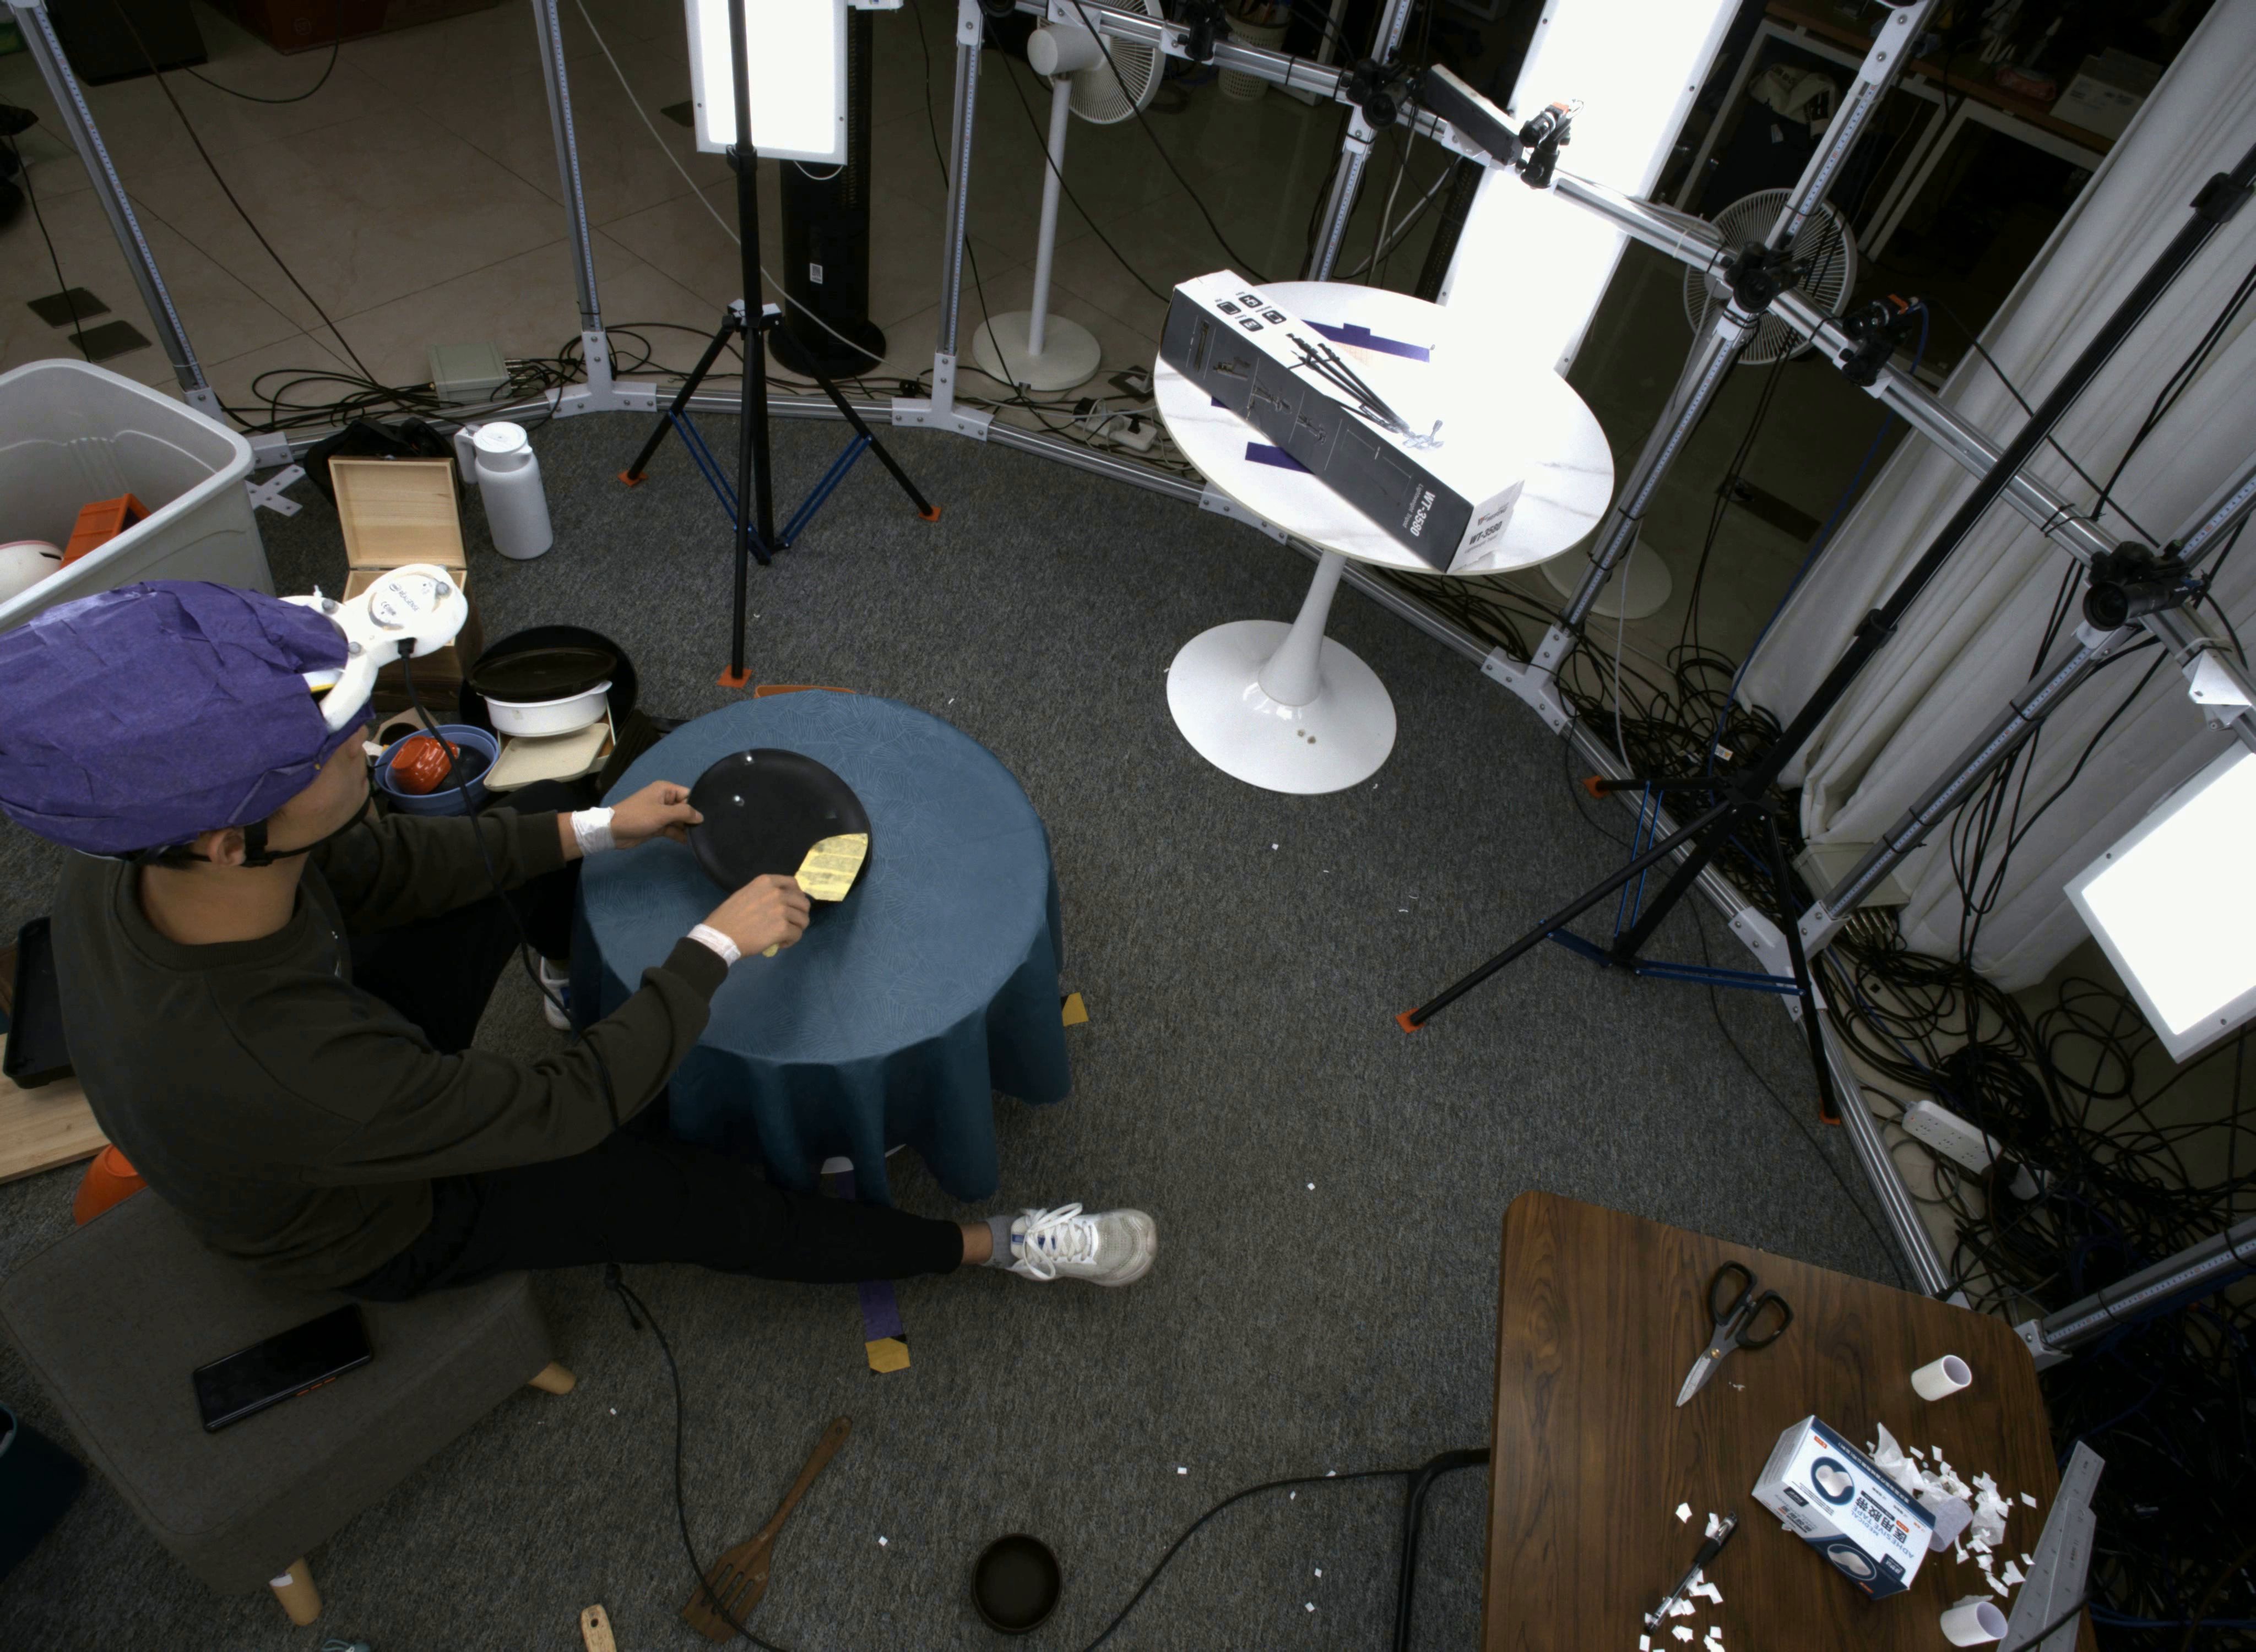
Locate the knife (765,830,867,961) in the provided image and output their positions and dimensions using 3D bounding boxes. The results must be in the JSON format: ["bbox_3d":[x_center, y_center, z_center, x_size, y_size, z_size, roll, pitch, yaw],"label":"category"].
[{"bbox_3d":[-0.382,0.076,1.602,0.080,0.028,0.285,6,31,4],"label":"knife"}]

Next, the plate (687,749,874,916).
[{"bbox_3d":[-0.448,0.008,1.673,0.248,0.023,0.240,18,54,-24],"label":"plate"}]
